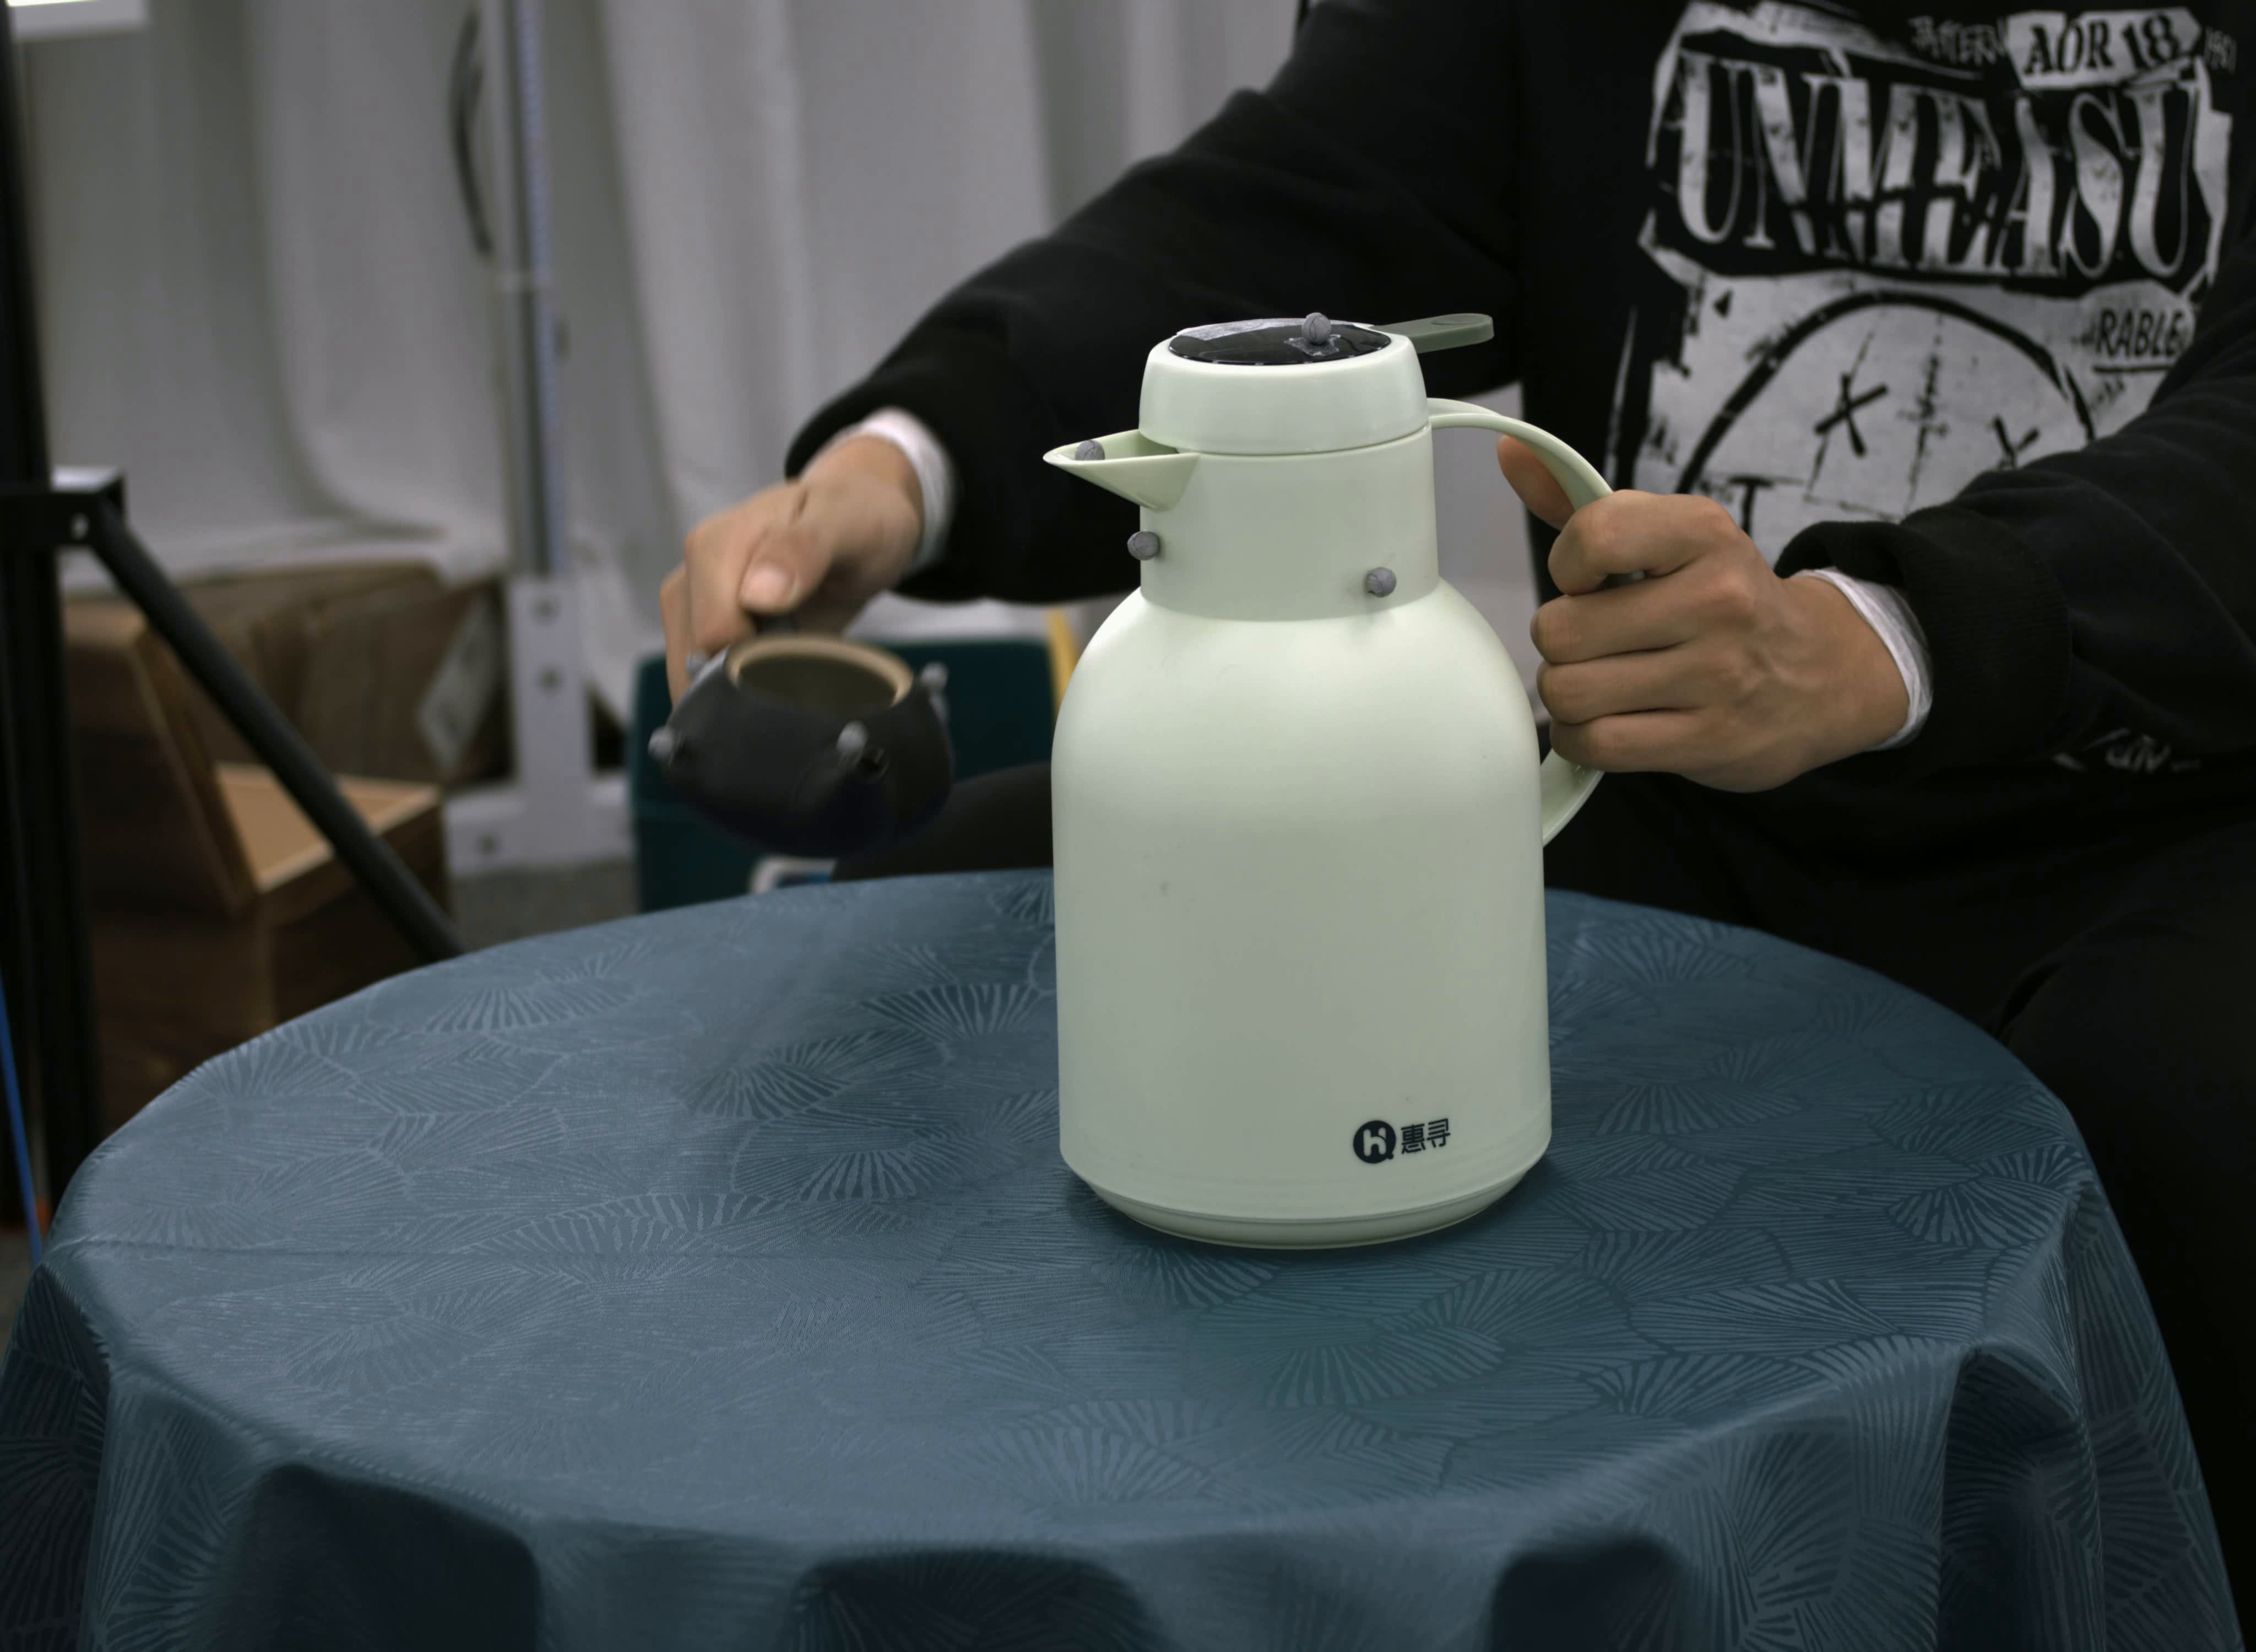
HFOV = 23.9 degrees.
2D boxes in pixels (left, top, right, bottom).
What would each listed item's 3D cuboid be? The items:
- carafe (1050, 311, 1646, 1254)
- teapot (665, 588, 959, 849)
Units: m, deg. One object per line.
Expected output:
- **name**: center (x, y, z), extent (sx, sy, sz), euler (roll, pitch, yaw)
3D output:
- **carafe**: center (0.062, -0.017, 1.529), extent (0.183, 0.257, 0.147), euler (-5, 13, -24)
- **teapot**: center (-0.096, -0.028, 1.632), extent (0.089, 0.053, 0.135), euler (1, 25, -20)
